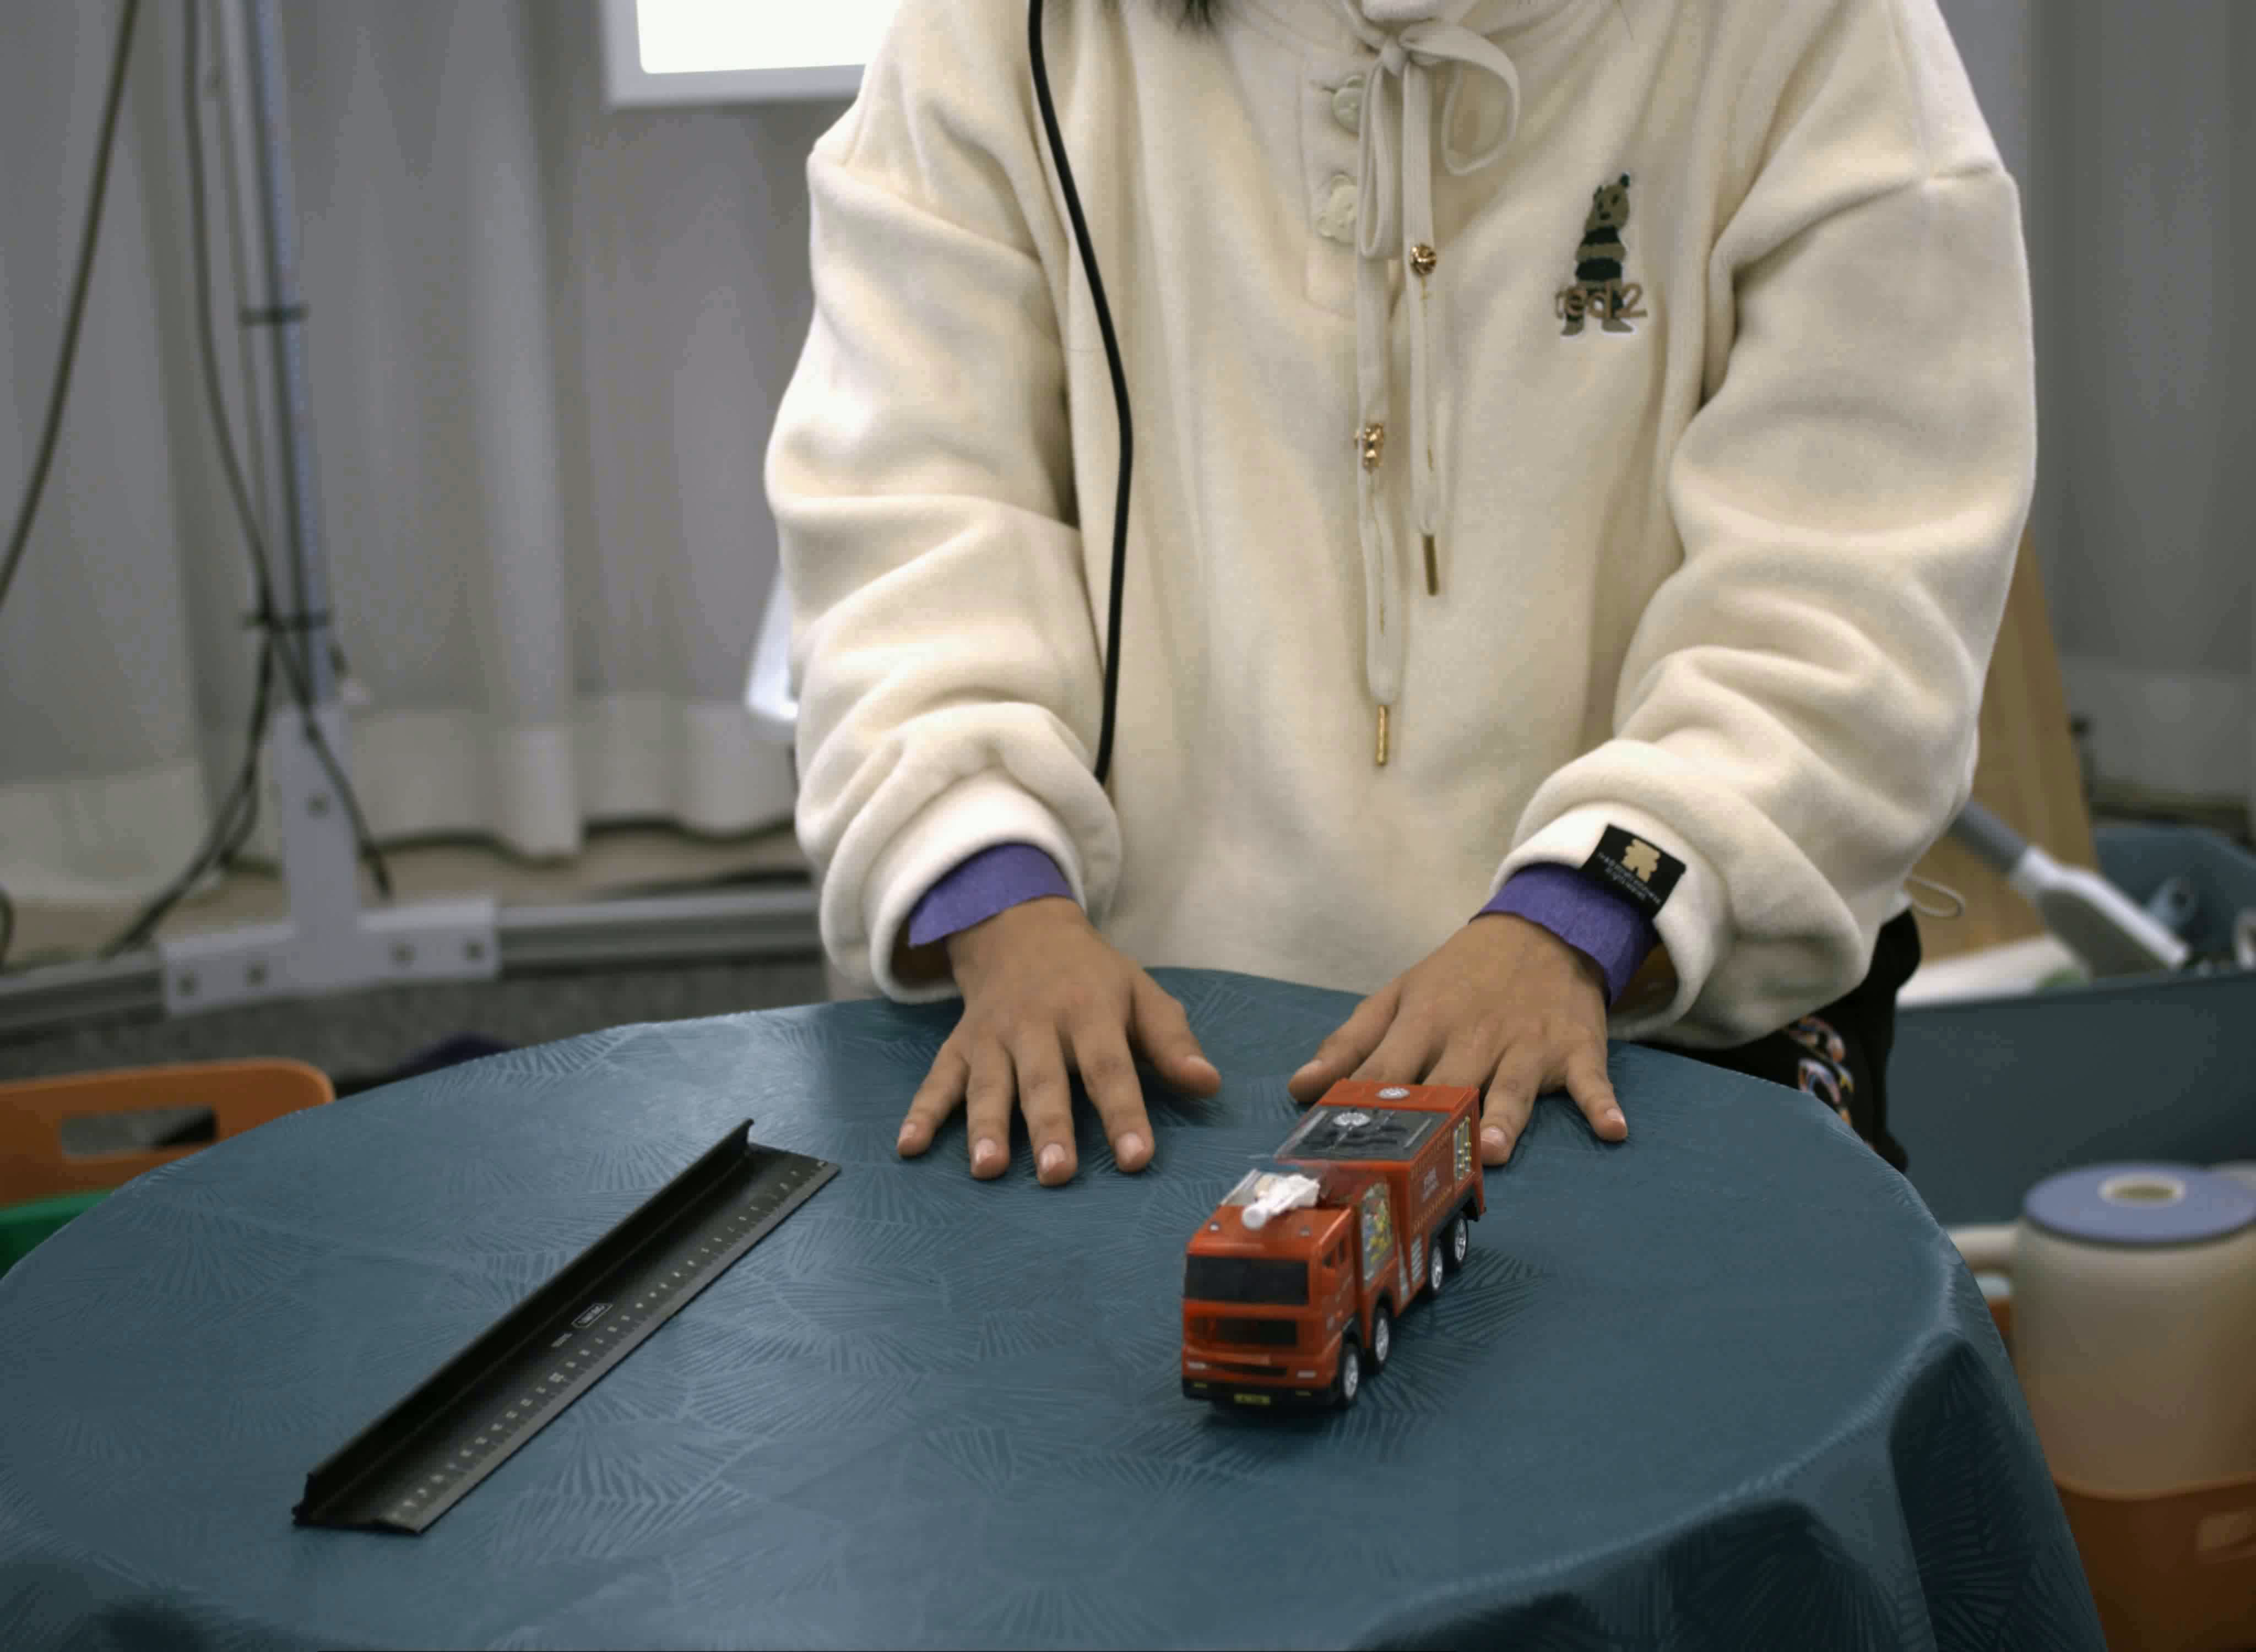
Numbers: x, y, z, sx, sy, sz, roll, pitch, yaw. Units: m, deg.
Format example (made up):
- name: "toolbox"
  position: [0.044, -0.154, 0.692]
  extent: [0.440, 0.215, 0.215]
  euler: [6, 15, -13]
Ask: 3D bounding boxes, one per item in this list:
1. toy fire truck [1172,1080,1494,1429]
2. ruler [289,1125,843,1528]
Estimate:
- name: "toy fire truck"
  position: [0.061, 0.120, 1.571]
  extent: [0.054, 0.070, 0.168]
  euler: [2, 14, 19]
- name: "ruler"
  position: [-0.159, 0.142, 1.610]
  extent: [0.039, 0.017, 0.313]
  euler: [6, 16, 18]
